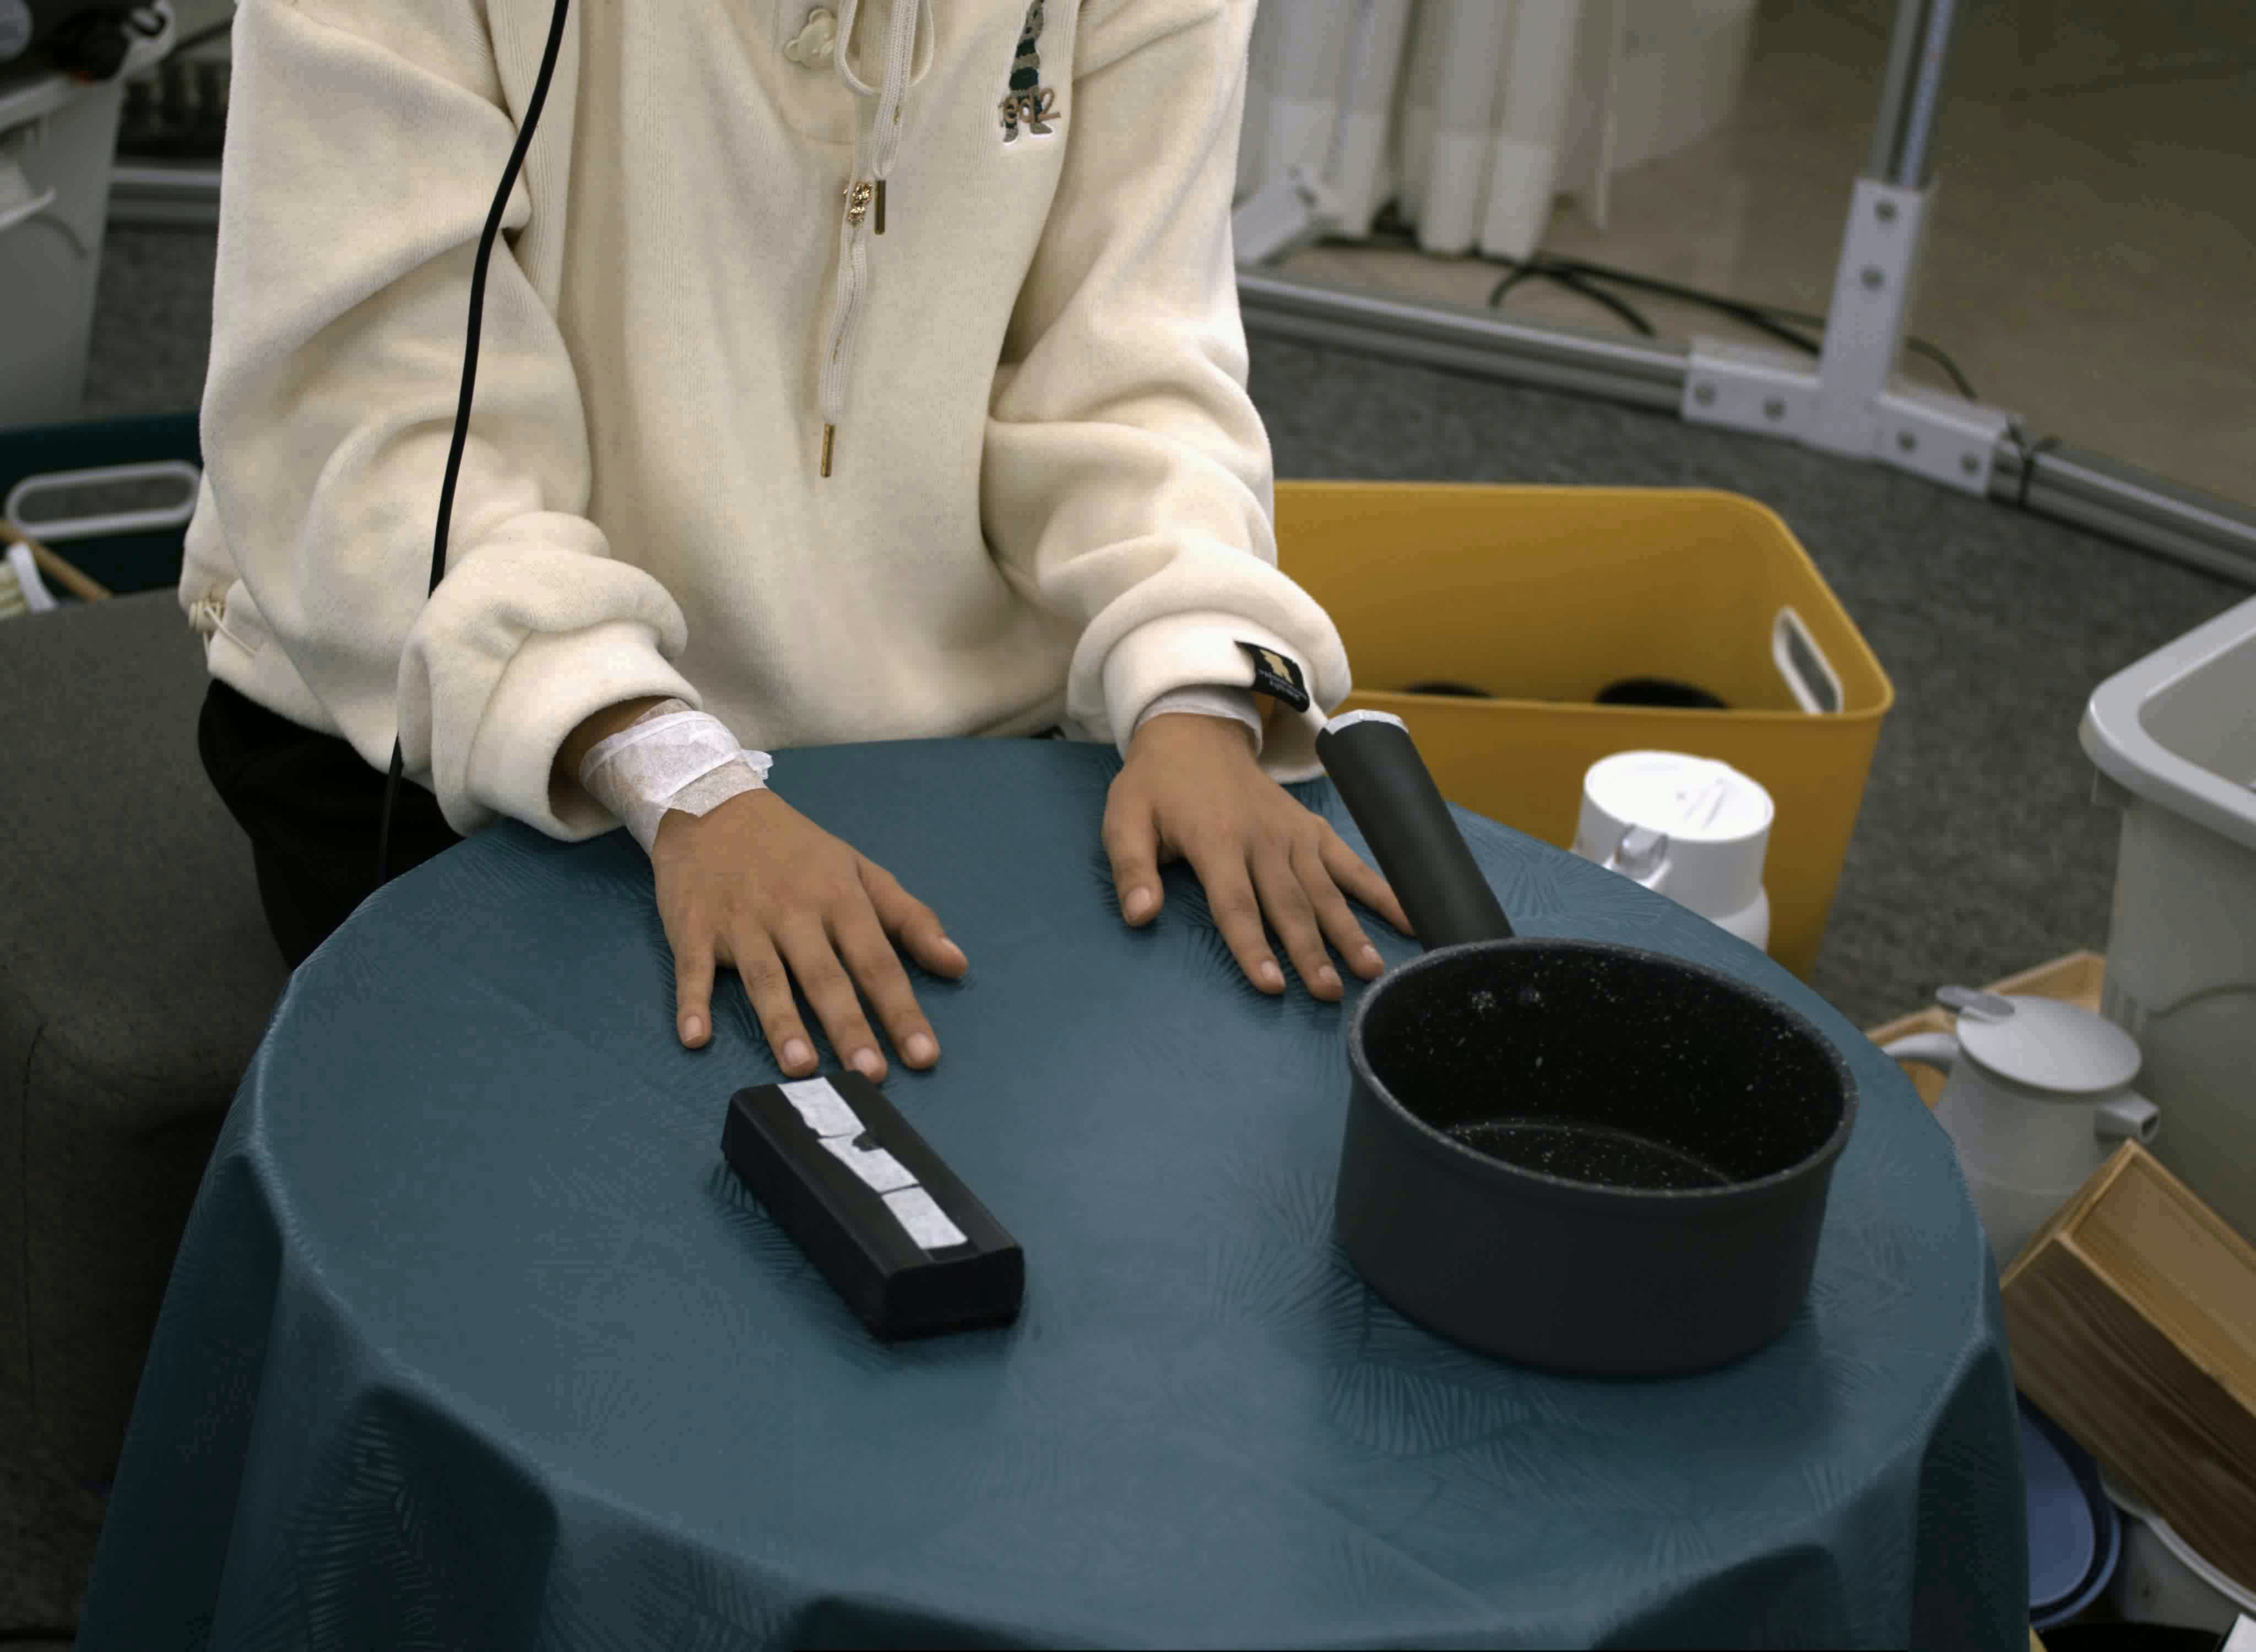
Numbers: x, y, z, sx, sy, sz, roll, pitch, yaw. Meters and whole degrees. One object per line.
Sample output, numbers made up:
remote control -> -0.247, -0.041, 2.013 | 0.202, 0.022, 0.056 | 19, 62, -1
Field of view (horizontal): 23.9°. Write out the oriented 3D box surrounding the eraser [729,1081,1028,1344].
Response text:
eraser -> -0.083, 0.126, 1.750 | 0.053, 0.030, 0.126 | -7, 28, -27

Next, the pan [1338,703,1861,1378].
pan -> 0.133, 0.070, 1.843 | 0.171, 0.086, 0.331 | -1, 29, -16
